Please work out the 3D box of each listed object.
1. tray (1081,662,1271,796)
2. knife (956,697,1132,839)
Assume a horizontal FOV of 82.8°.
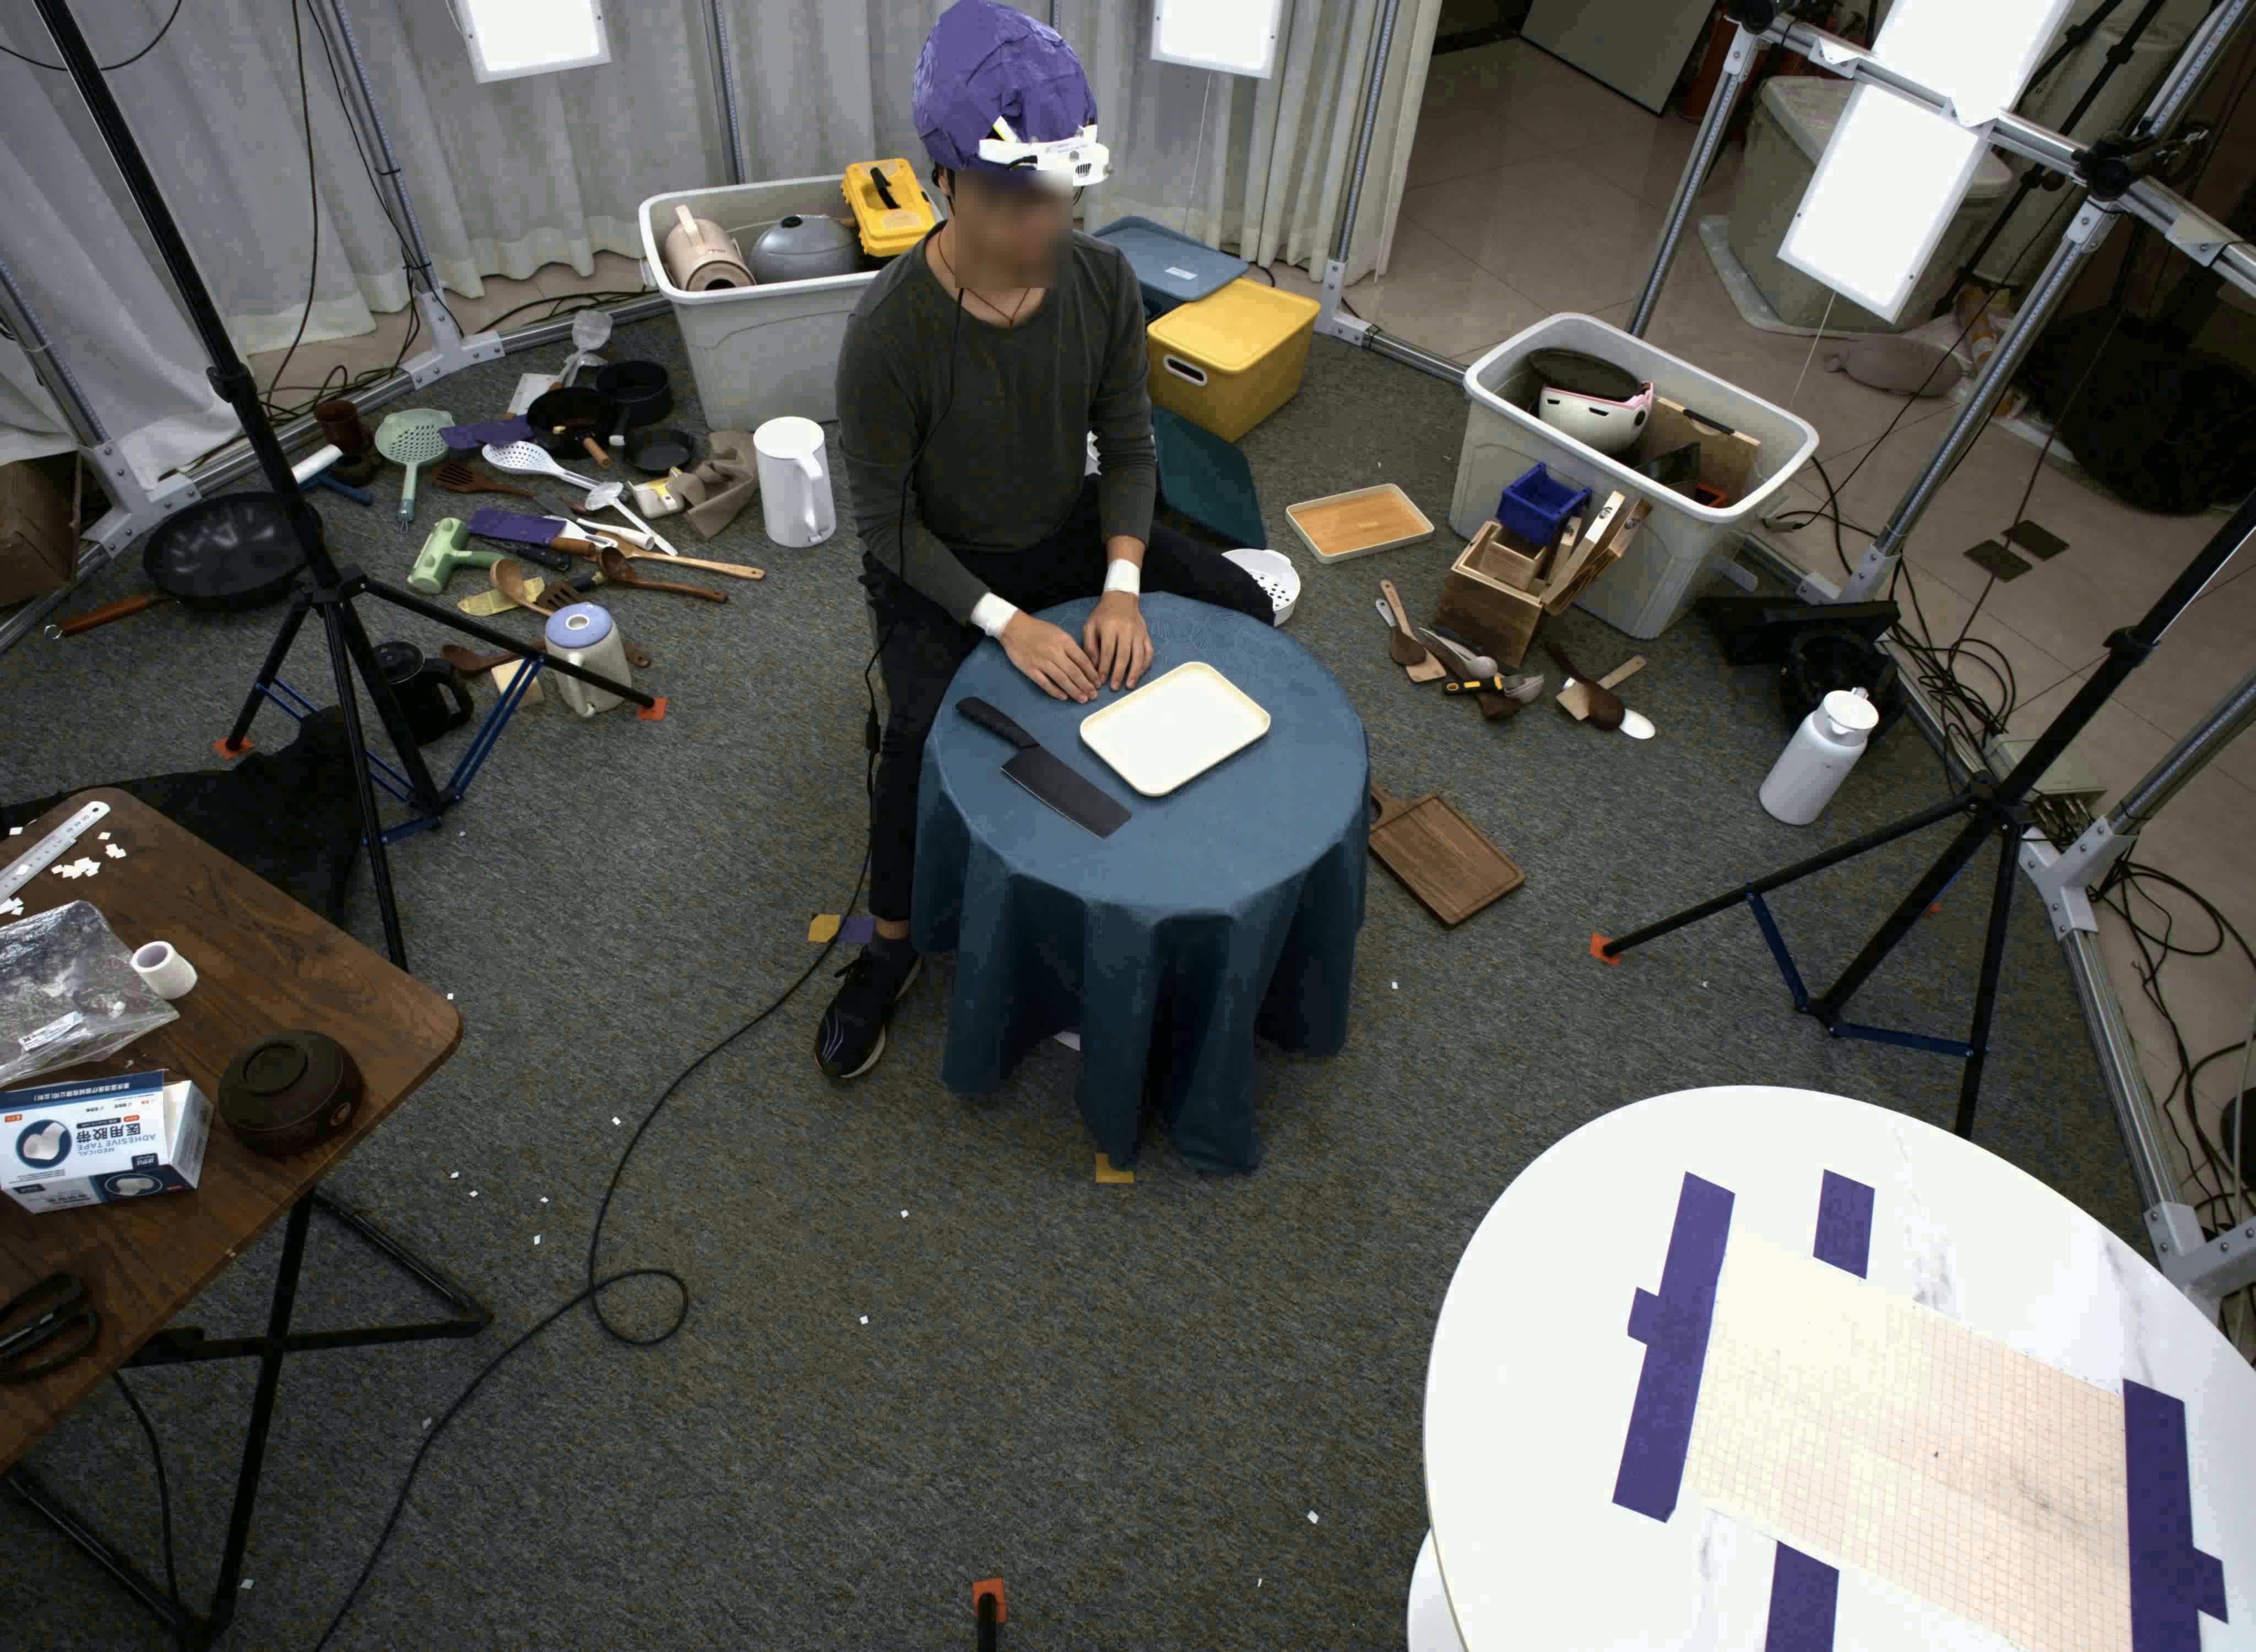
[{"bbox_3d":[0.067,-0.136,1.778,0.241,0.017,0.174,-31,57,-27],"label":"tray"},{"bbox_3d":[-0.123,-0.083,1.722,0.081,0.020,0.307,-35,61,-28],"label":"knife"}]
